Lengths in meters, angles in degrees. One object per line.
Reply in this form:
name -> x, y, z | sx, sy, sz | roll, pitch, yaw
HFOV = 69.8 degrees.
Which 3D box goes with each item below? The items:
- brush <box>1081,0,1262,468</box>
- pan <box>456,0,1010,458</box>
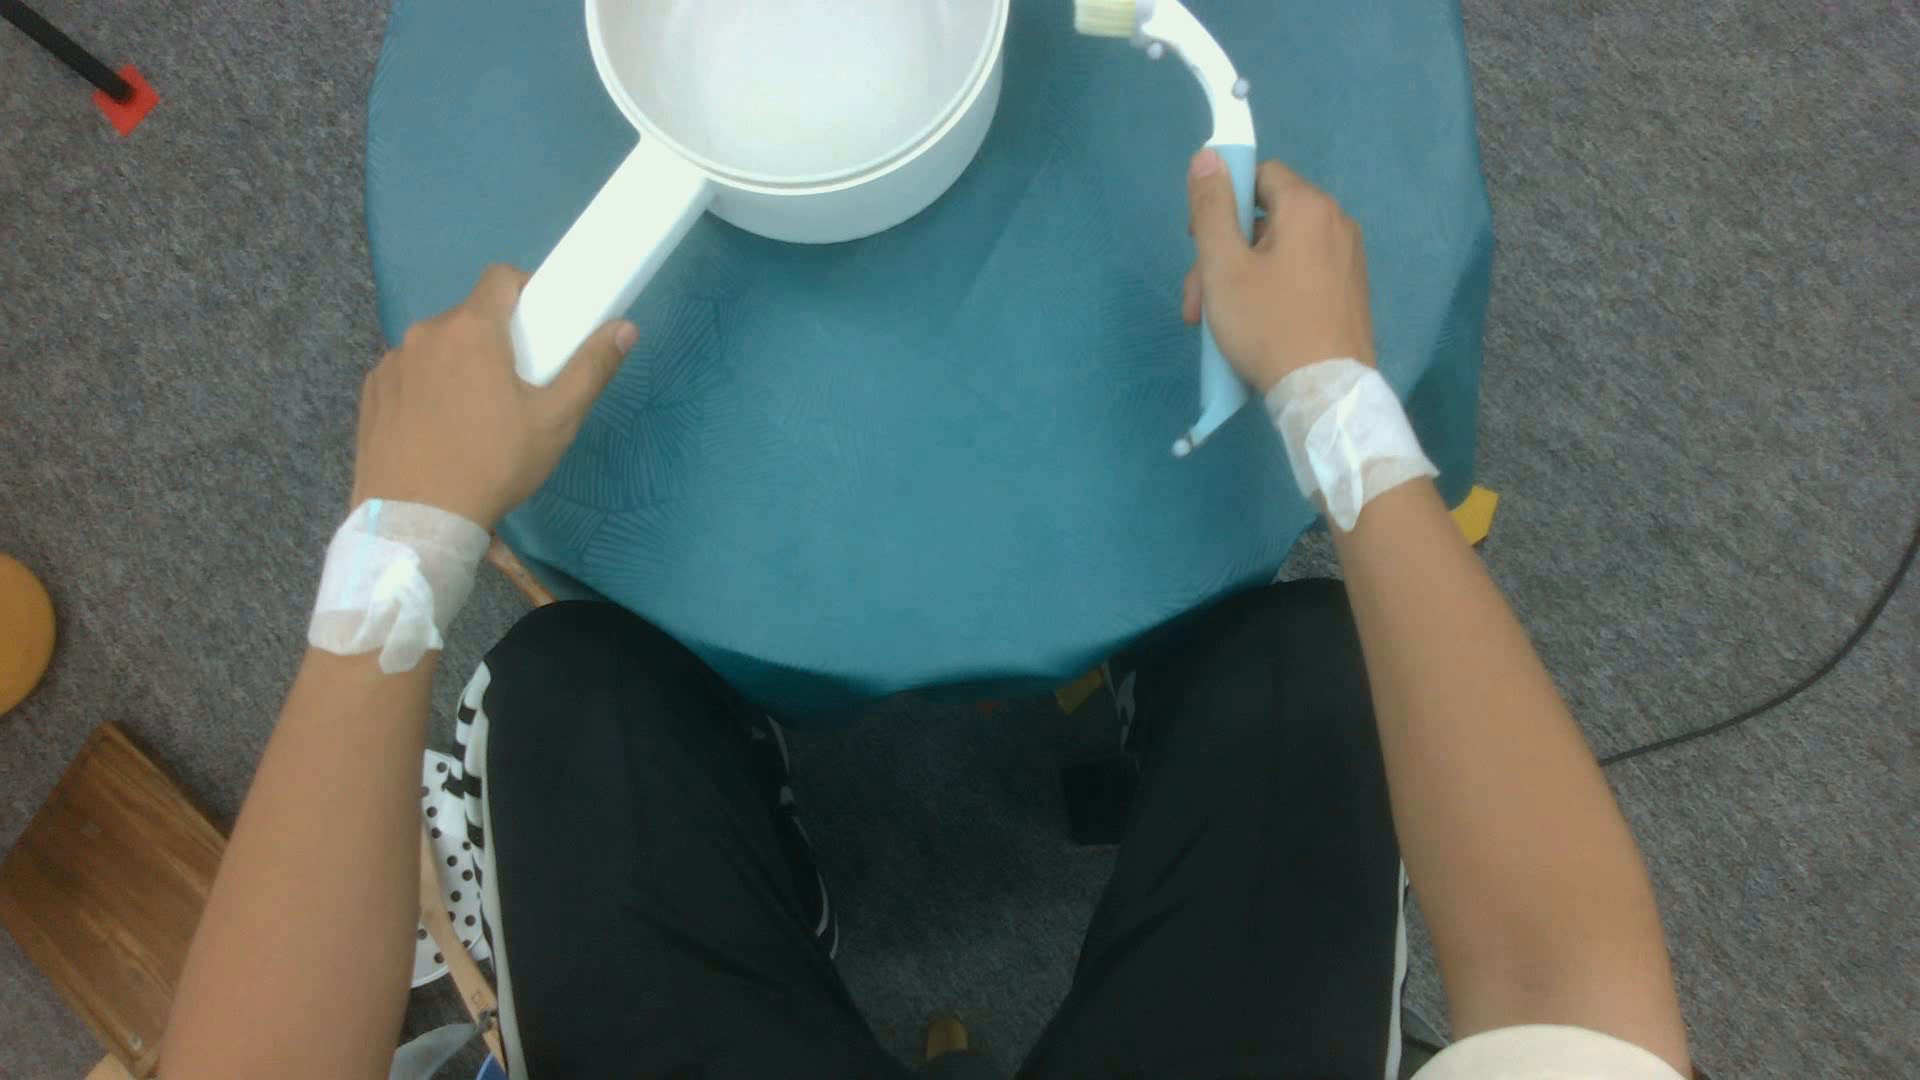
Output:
brush -> 0.088, -0.196, 0.652 | 0.084, 0.083, 0.325 | -4, 84, 42
pan -> -0.117, -0.187, 0.707 | 0.201, 0.102, 0.355 | 35, 84, 8
